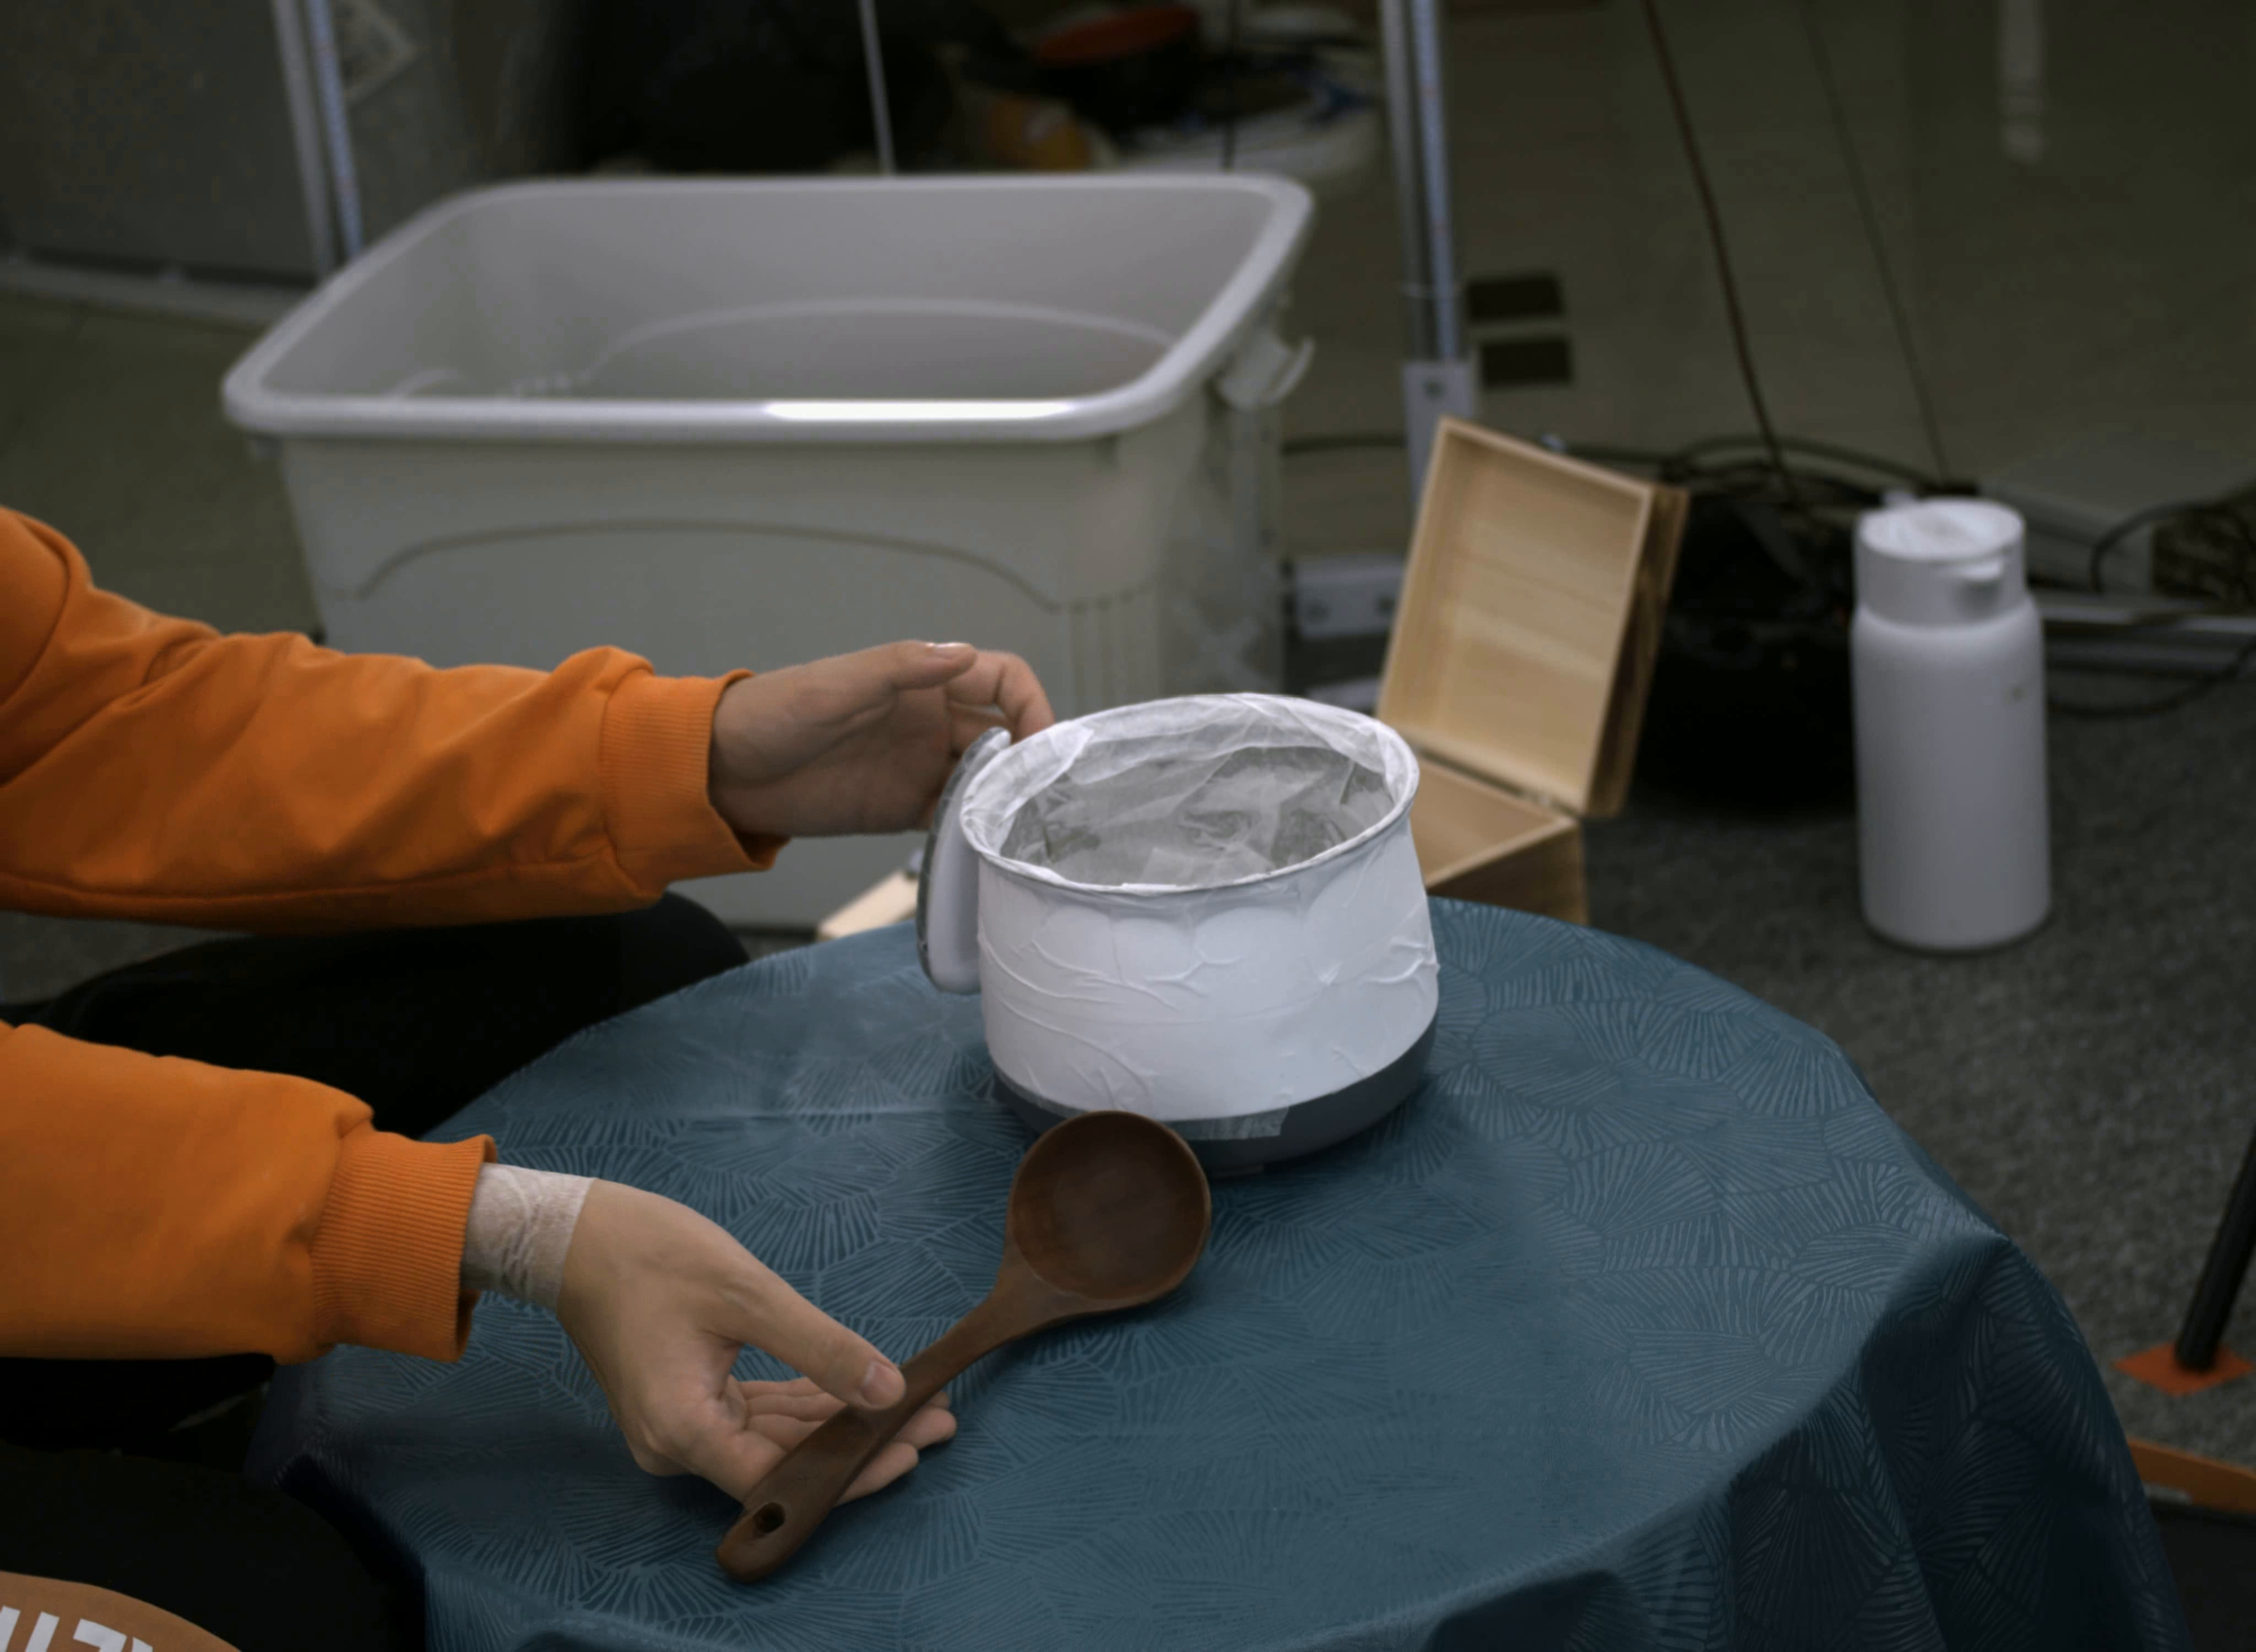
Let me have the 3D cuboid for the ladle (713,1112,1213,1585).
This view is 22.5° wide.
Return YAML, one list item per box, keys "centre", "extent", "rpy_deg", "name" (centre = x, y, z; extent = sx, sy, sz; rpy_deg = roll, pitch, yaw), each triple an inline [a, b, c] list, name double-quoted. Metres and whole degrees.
- centre: [-0.059, 0.181, 1.999]
  extent: [0.076, 0.066, 0.257]
  rpy_deg: [33, 39, 18]
  name: "ladle"

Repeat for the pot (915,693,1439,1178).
- centre: [0.008, 0.037, 2.197]
  extent: [0.232, 0.139, 0.177]
  rpy_deg: [14, 32, 36]
  name: "pot"
